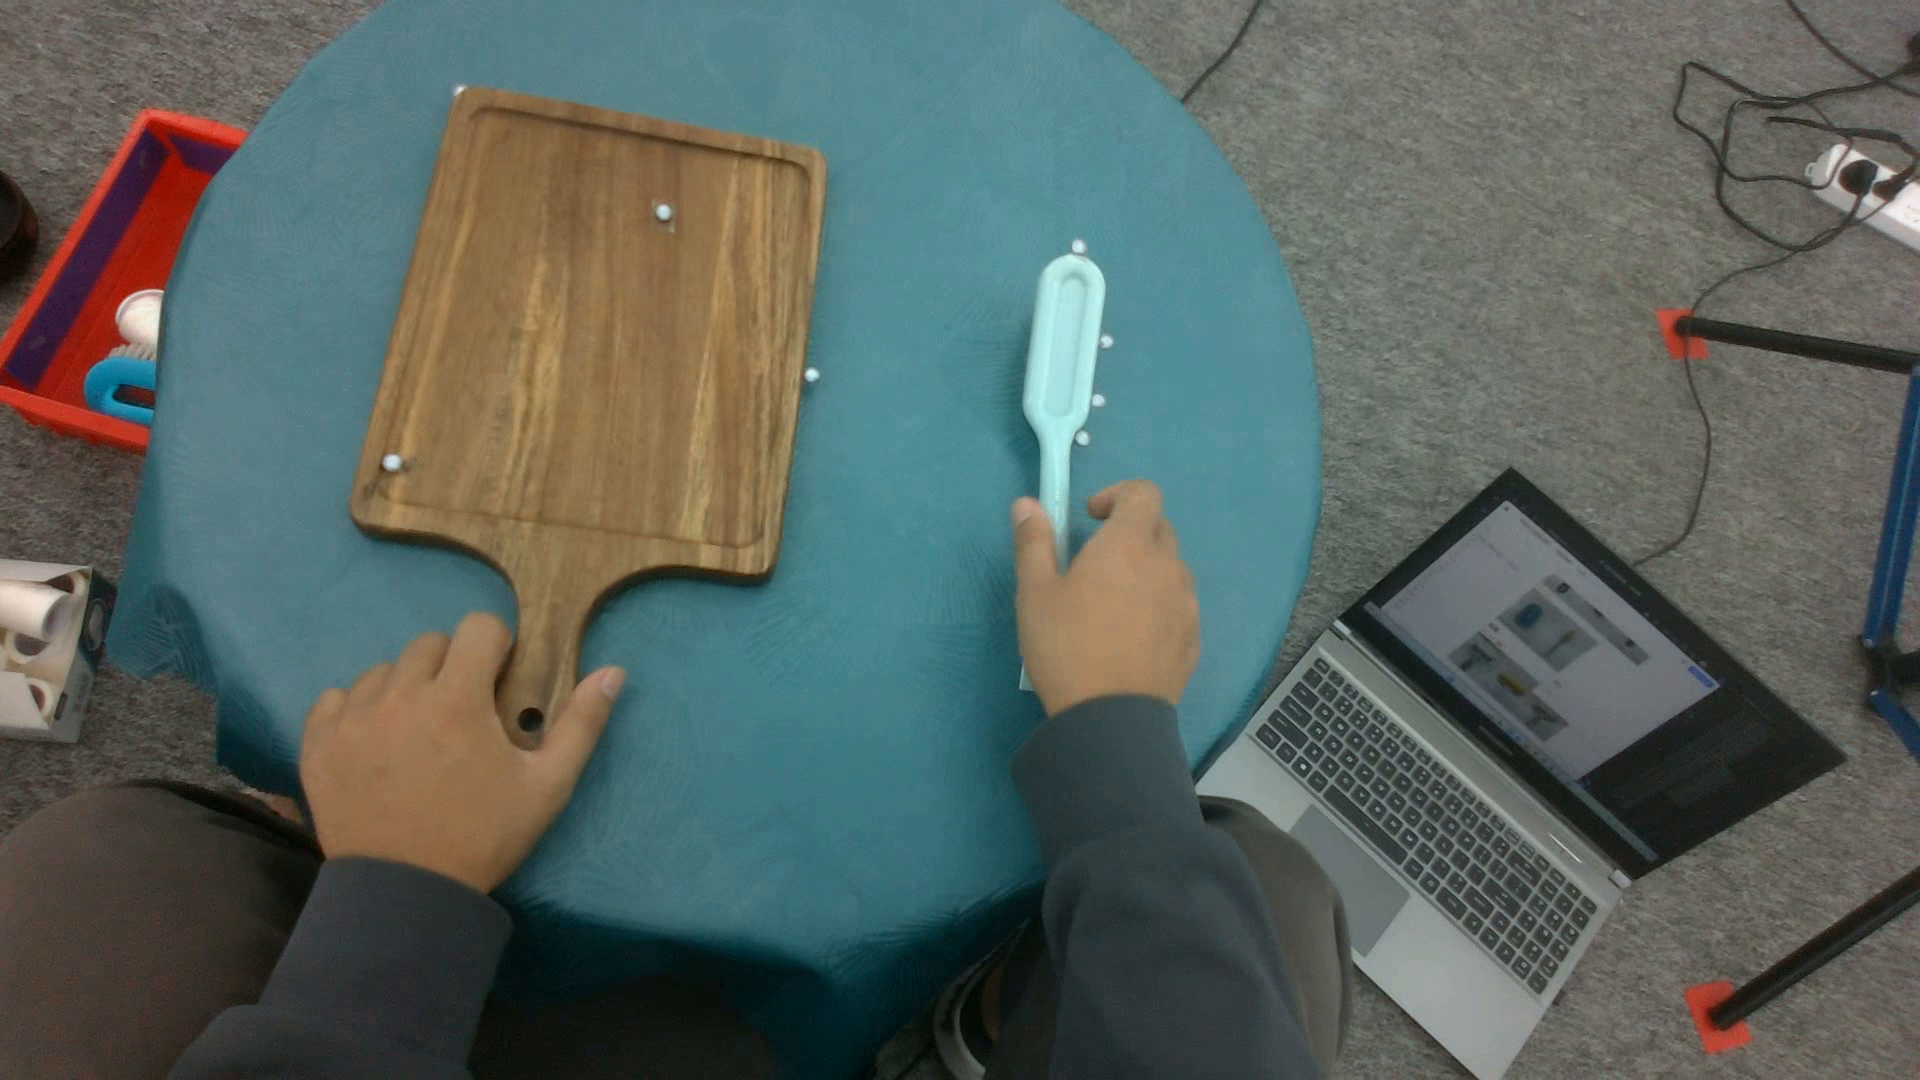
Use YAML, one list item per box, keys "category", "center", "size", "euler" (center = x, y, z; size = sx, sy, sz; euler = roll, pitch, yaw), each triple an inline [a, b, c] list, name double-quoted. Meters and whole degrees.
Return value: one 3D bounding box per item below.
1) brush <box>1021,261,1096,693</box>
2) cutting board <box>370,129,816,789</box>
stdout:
- category: "brush"
  center: [0.051, -0.034, 0.728]
  size: [0.038, 0.049, 0.229]
  euler: [2, 77, -7]
- category: "cutting board"
  center: [-0.183, -0.051, 0.698]
  size: [0.201, 0.023, 0.353]
  euler: [6, 68, -8]
